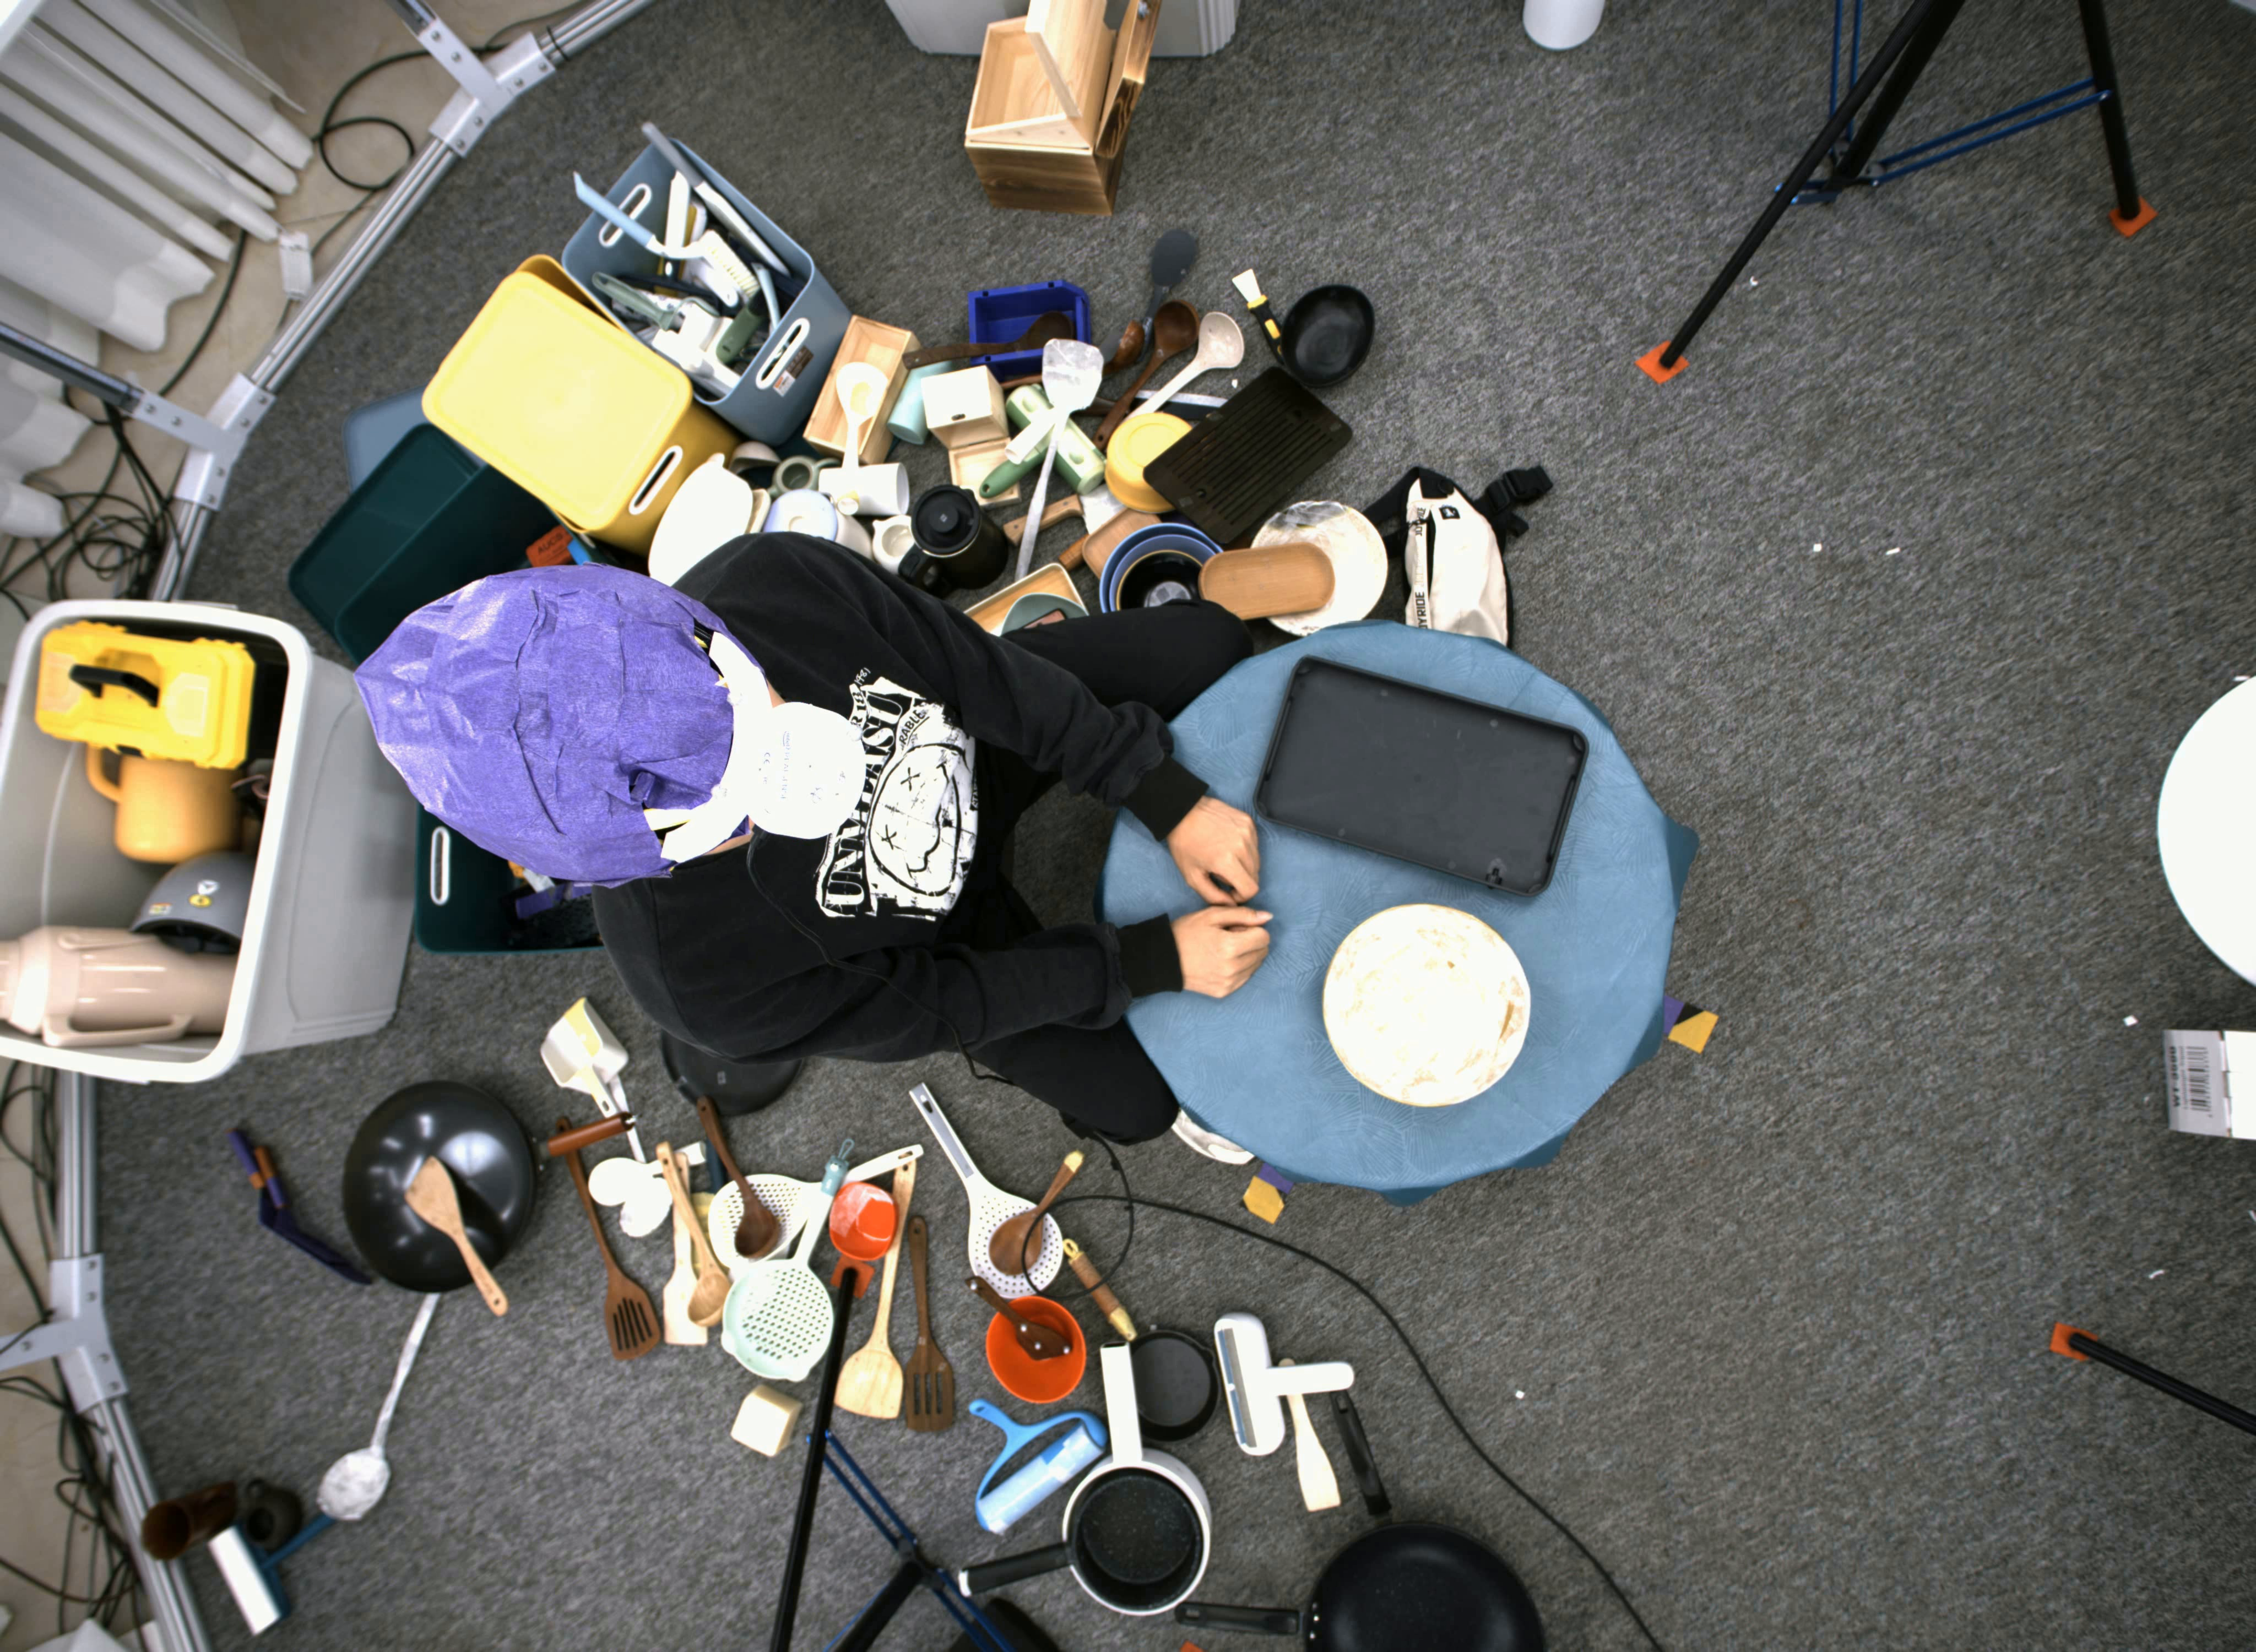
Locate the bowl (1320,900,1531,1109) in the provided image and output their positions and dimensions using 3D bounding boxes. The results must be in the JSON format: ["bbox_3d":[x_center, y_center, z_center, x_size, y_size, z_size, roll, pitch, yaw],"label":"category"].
[{"bbox_3d":[0.299,0.177,1.405,0.215,0.094,0.214,-1,87,10],"label":"bowl"}]

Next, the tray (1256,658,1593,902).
[{"bbox_3d":[0.308,-0.051,1.446,0.318,0.037,0.184,18,90,12],"label":"tray"}]
